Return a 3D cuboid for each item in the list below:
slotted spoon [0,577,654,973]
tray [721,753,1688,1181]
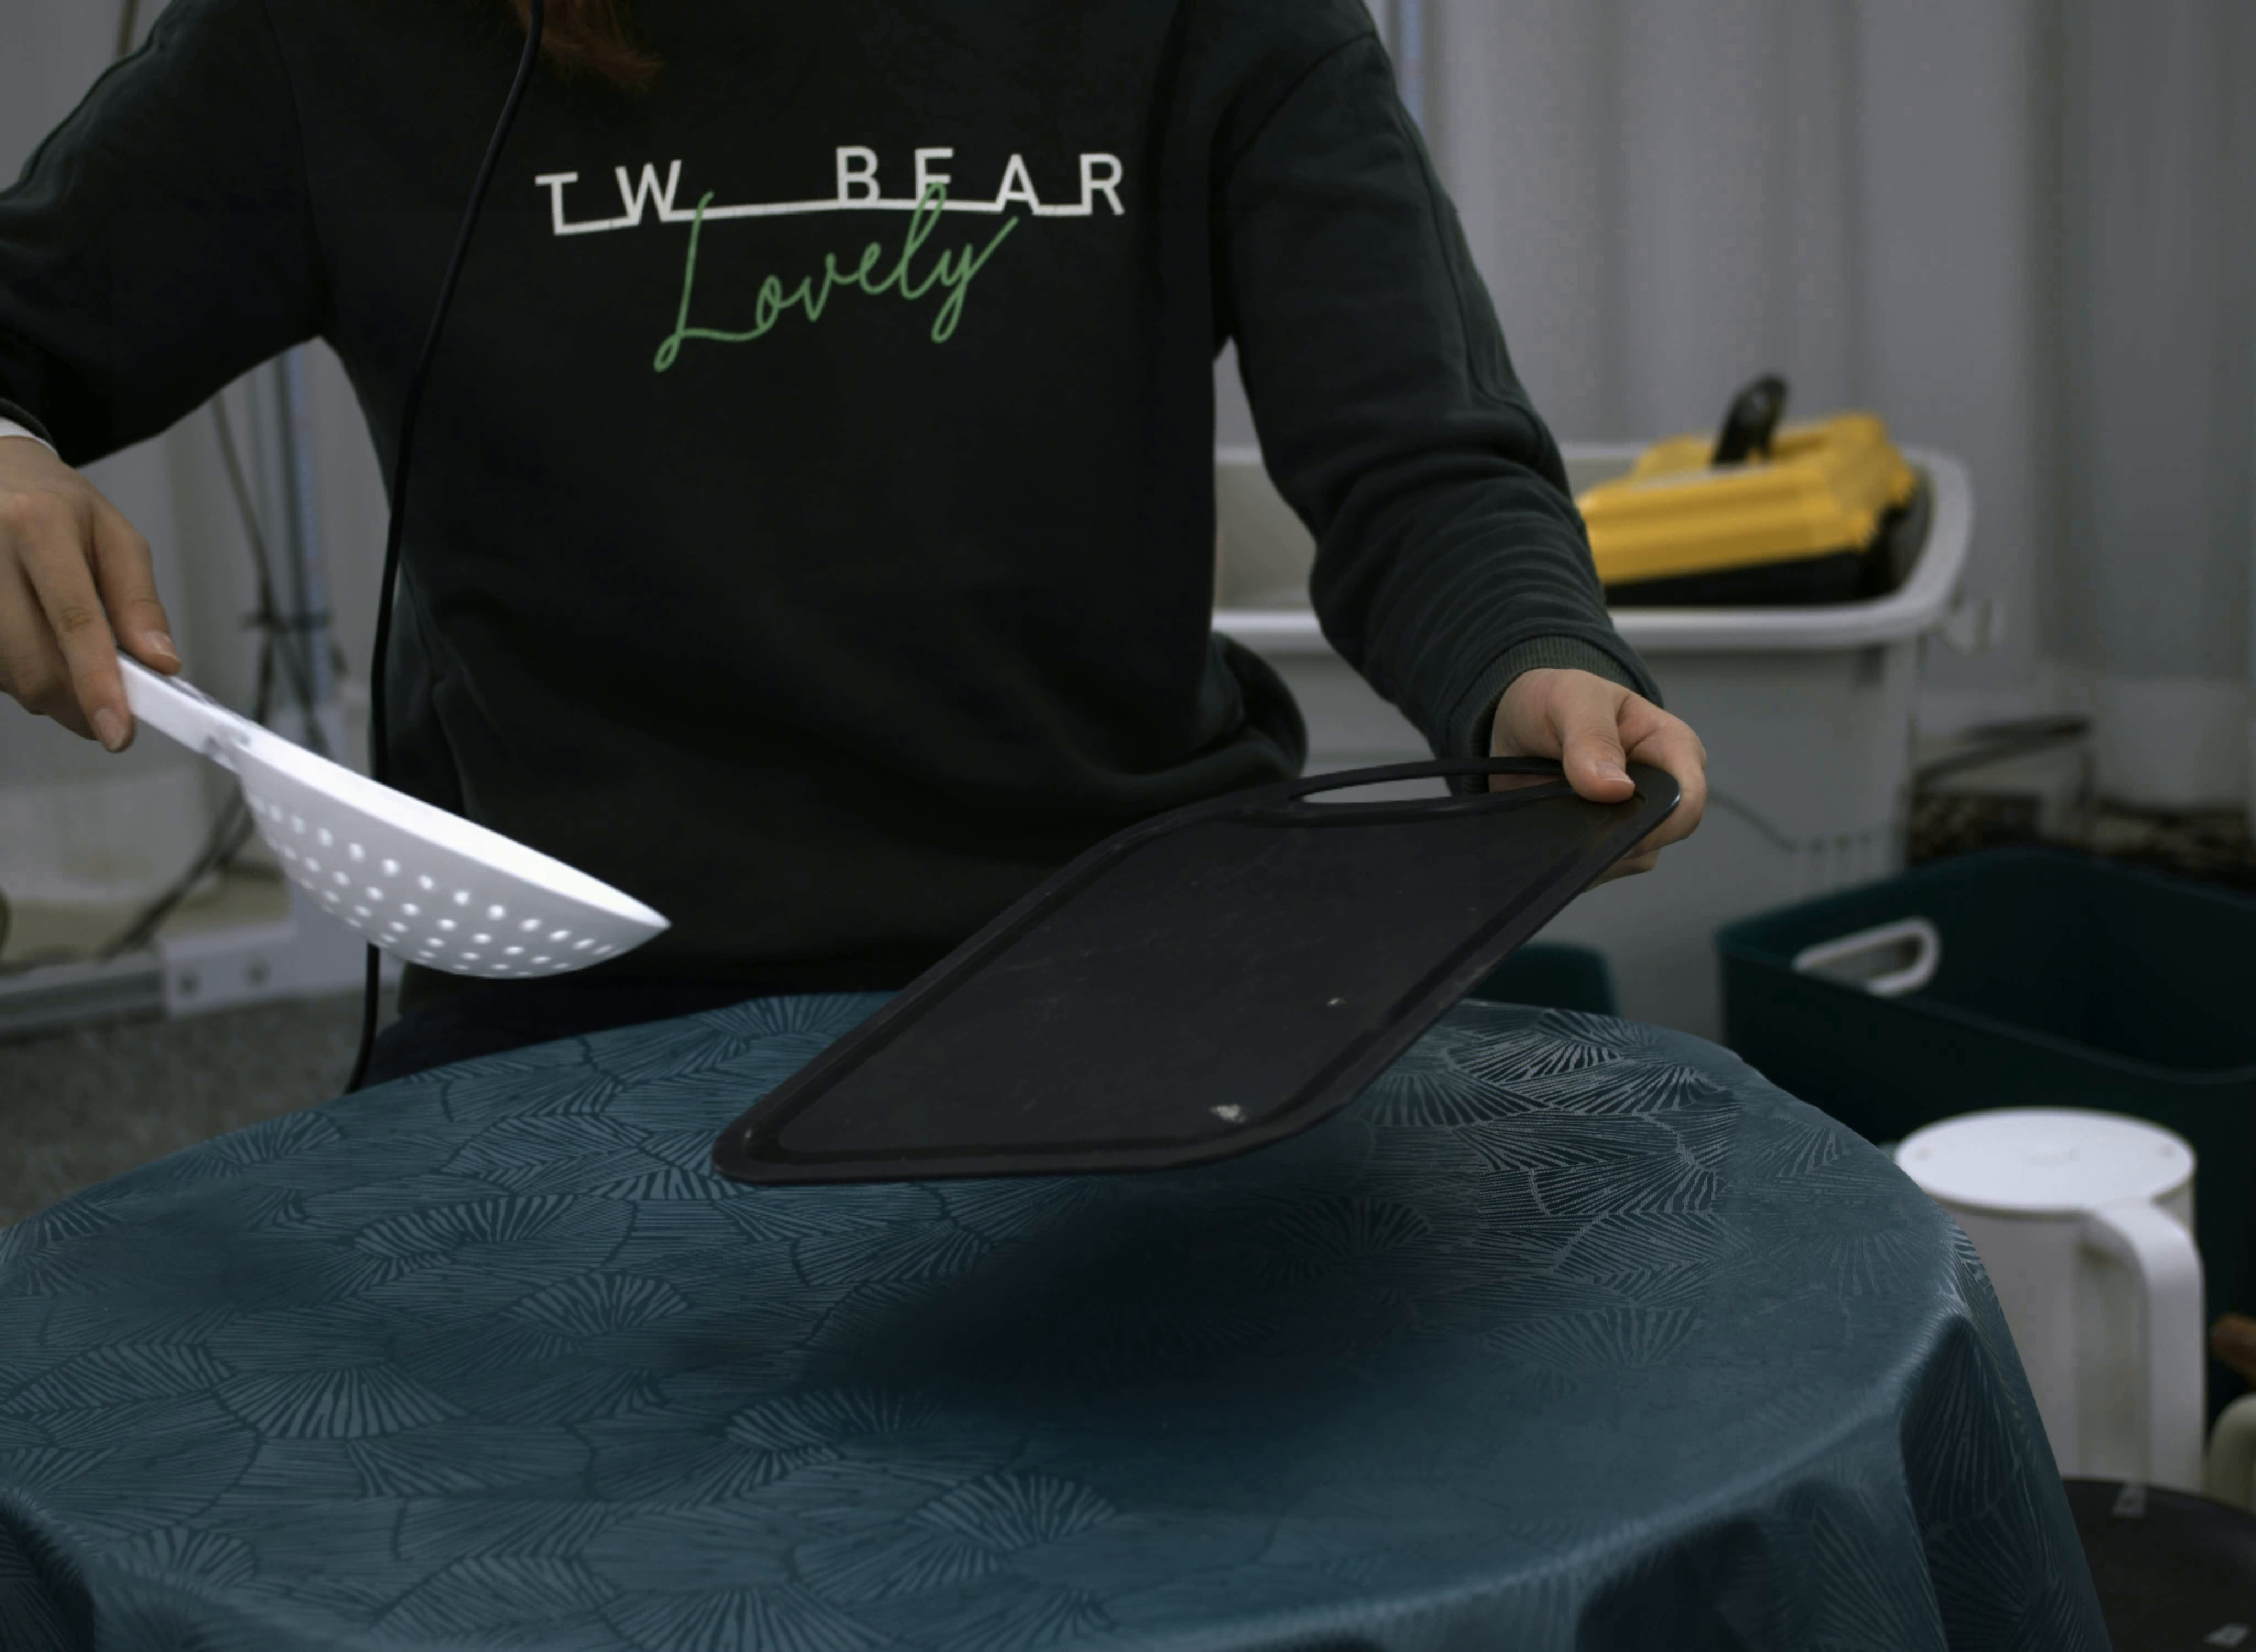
[{"bbox_3d":[-0.266,-0.024,1.668,0.134,0.046,0.353,25,5,-41],"label":"slotted spoon"},{"bbox_3d":[0.030,0.036,1.631,0.211,0.010,0.327,-4,19,32],"label":"tray"}]
